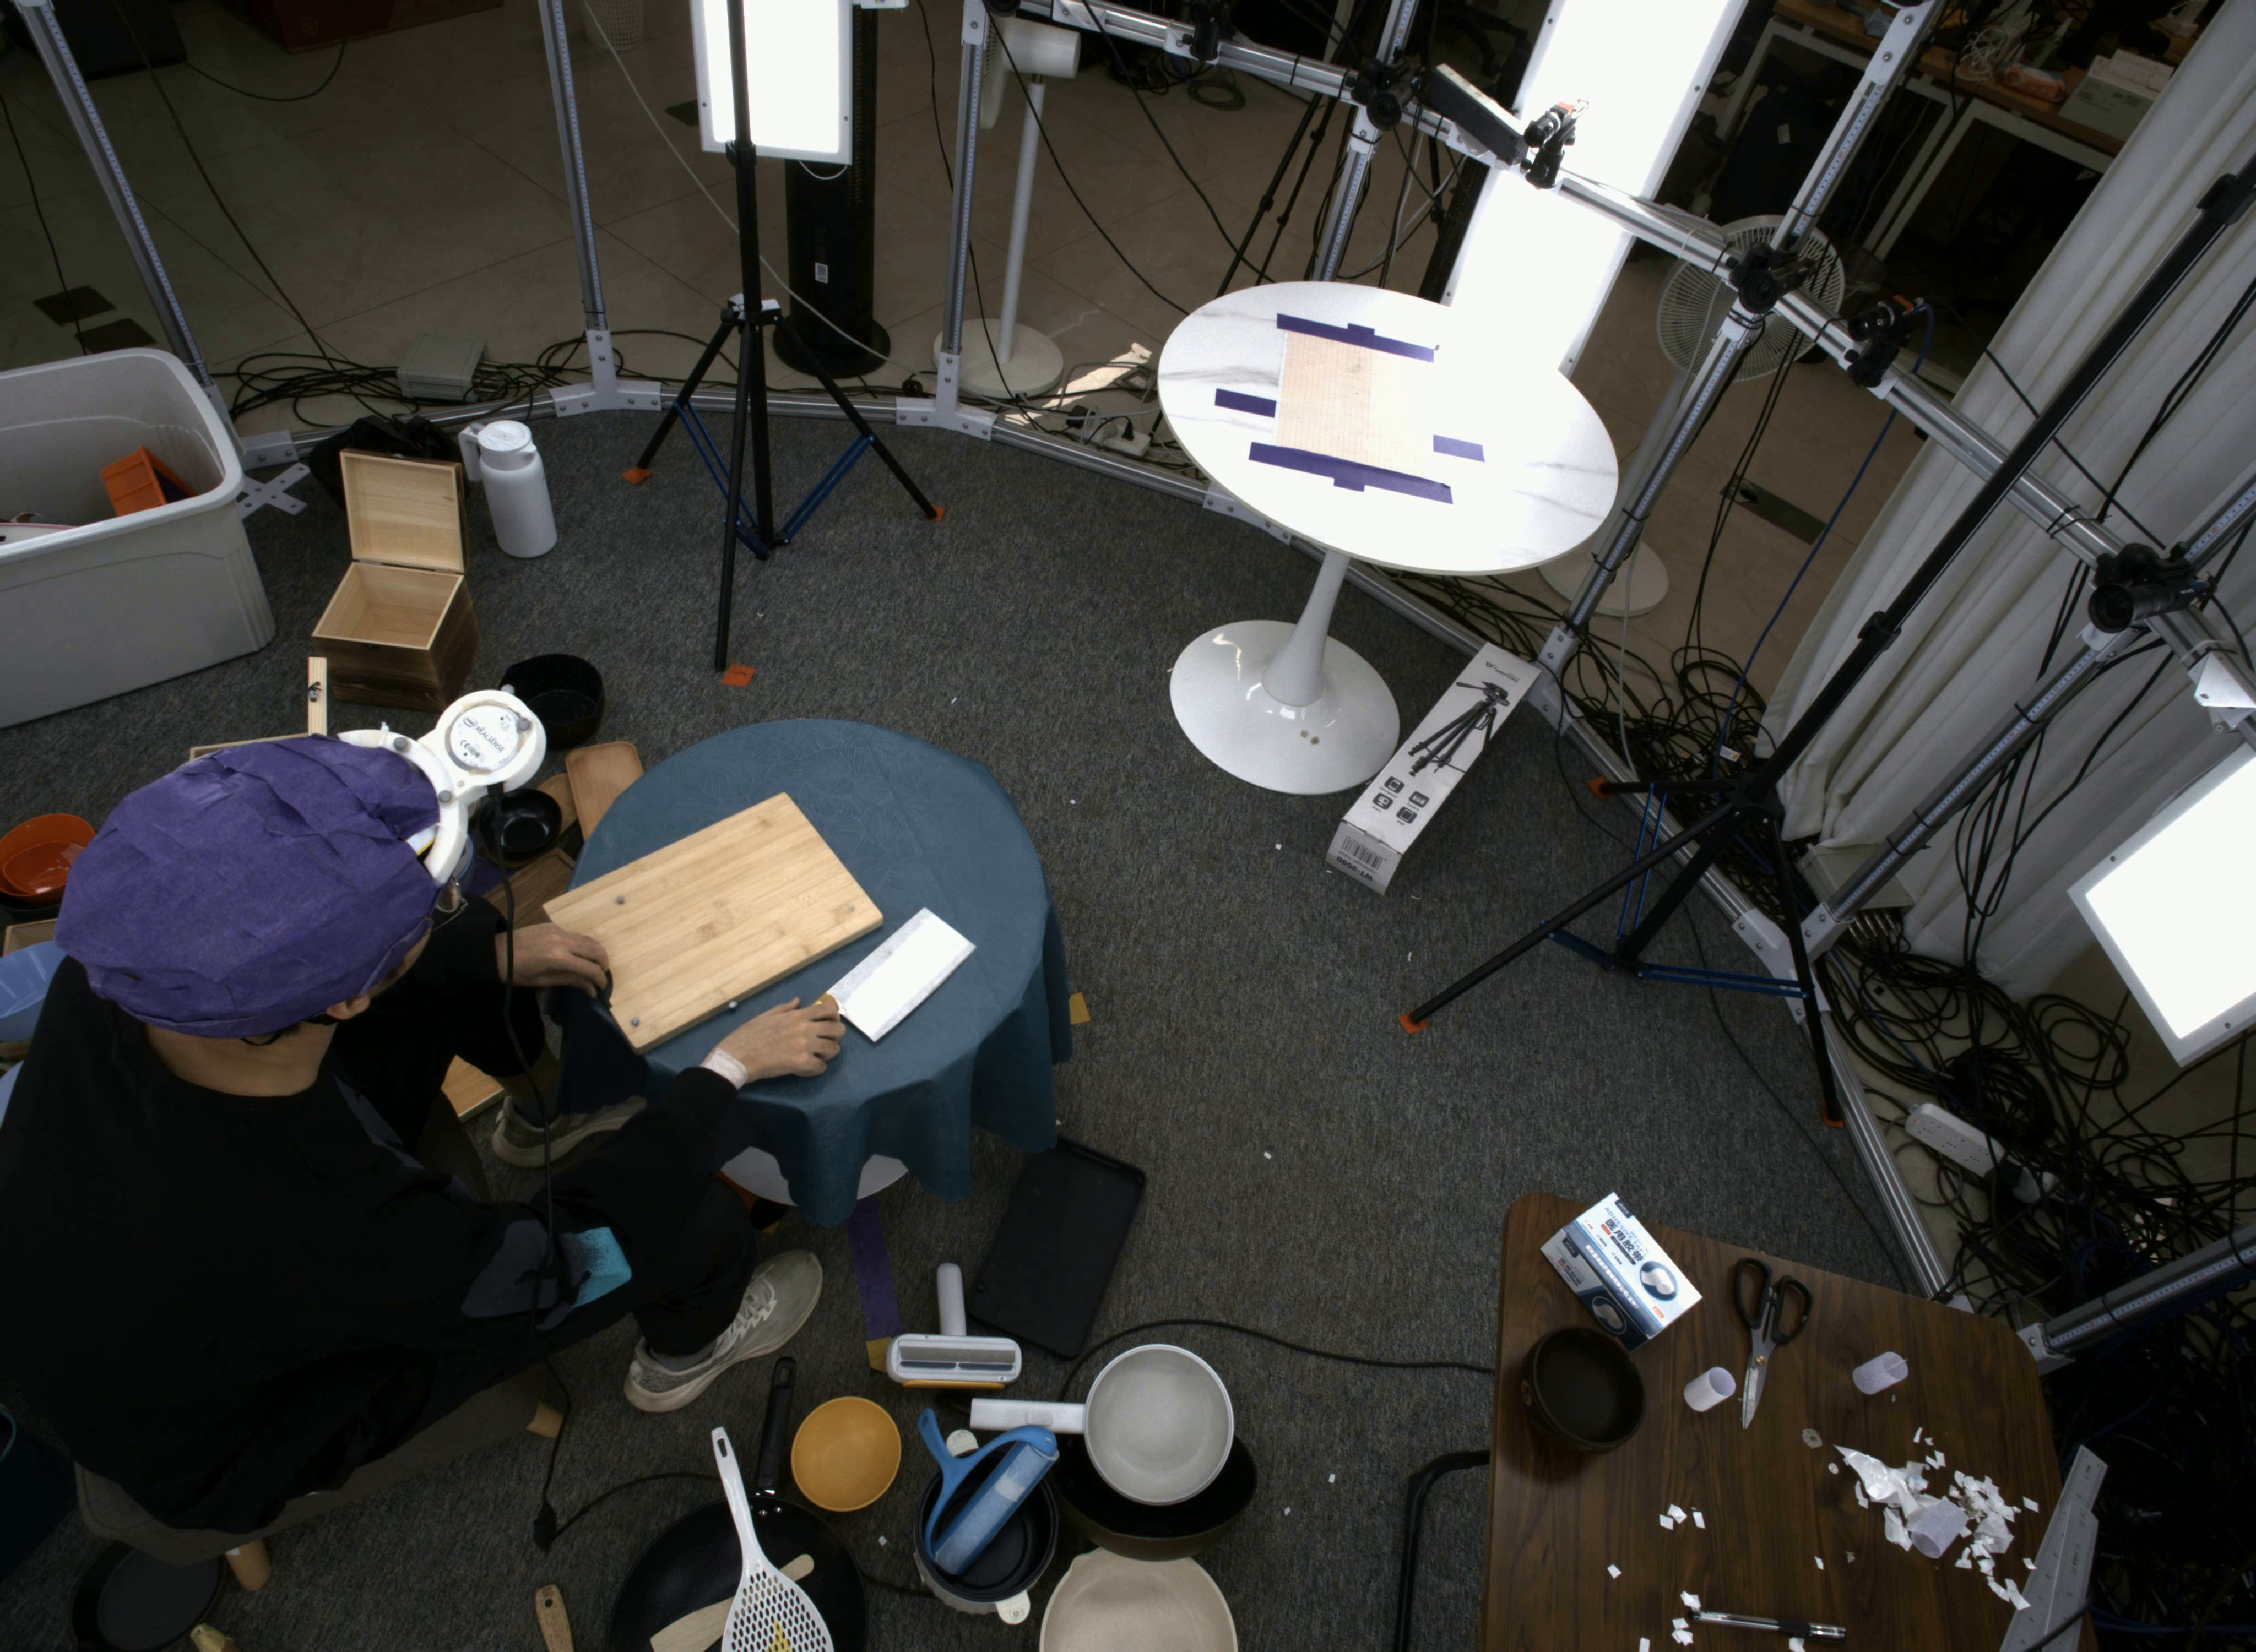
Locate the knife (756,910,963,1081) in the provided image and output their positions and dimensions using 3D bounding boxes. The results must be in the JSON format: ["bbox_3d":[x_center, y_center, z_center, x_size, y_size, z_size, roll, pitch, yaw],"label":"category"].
[{"bbox_3d":[-0.315,0.210,1.575,0.091,0.021,0.305,37,51,12],"label":"knife"}]

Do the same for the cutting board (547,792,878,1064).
[{"bbox_3d":[-0.516,0.112,1.594,0.350,0.024,0.245,-31,66,-32],"label":"cutting board"}]
